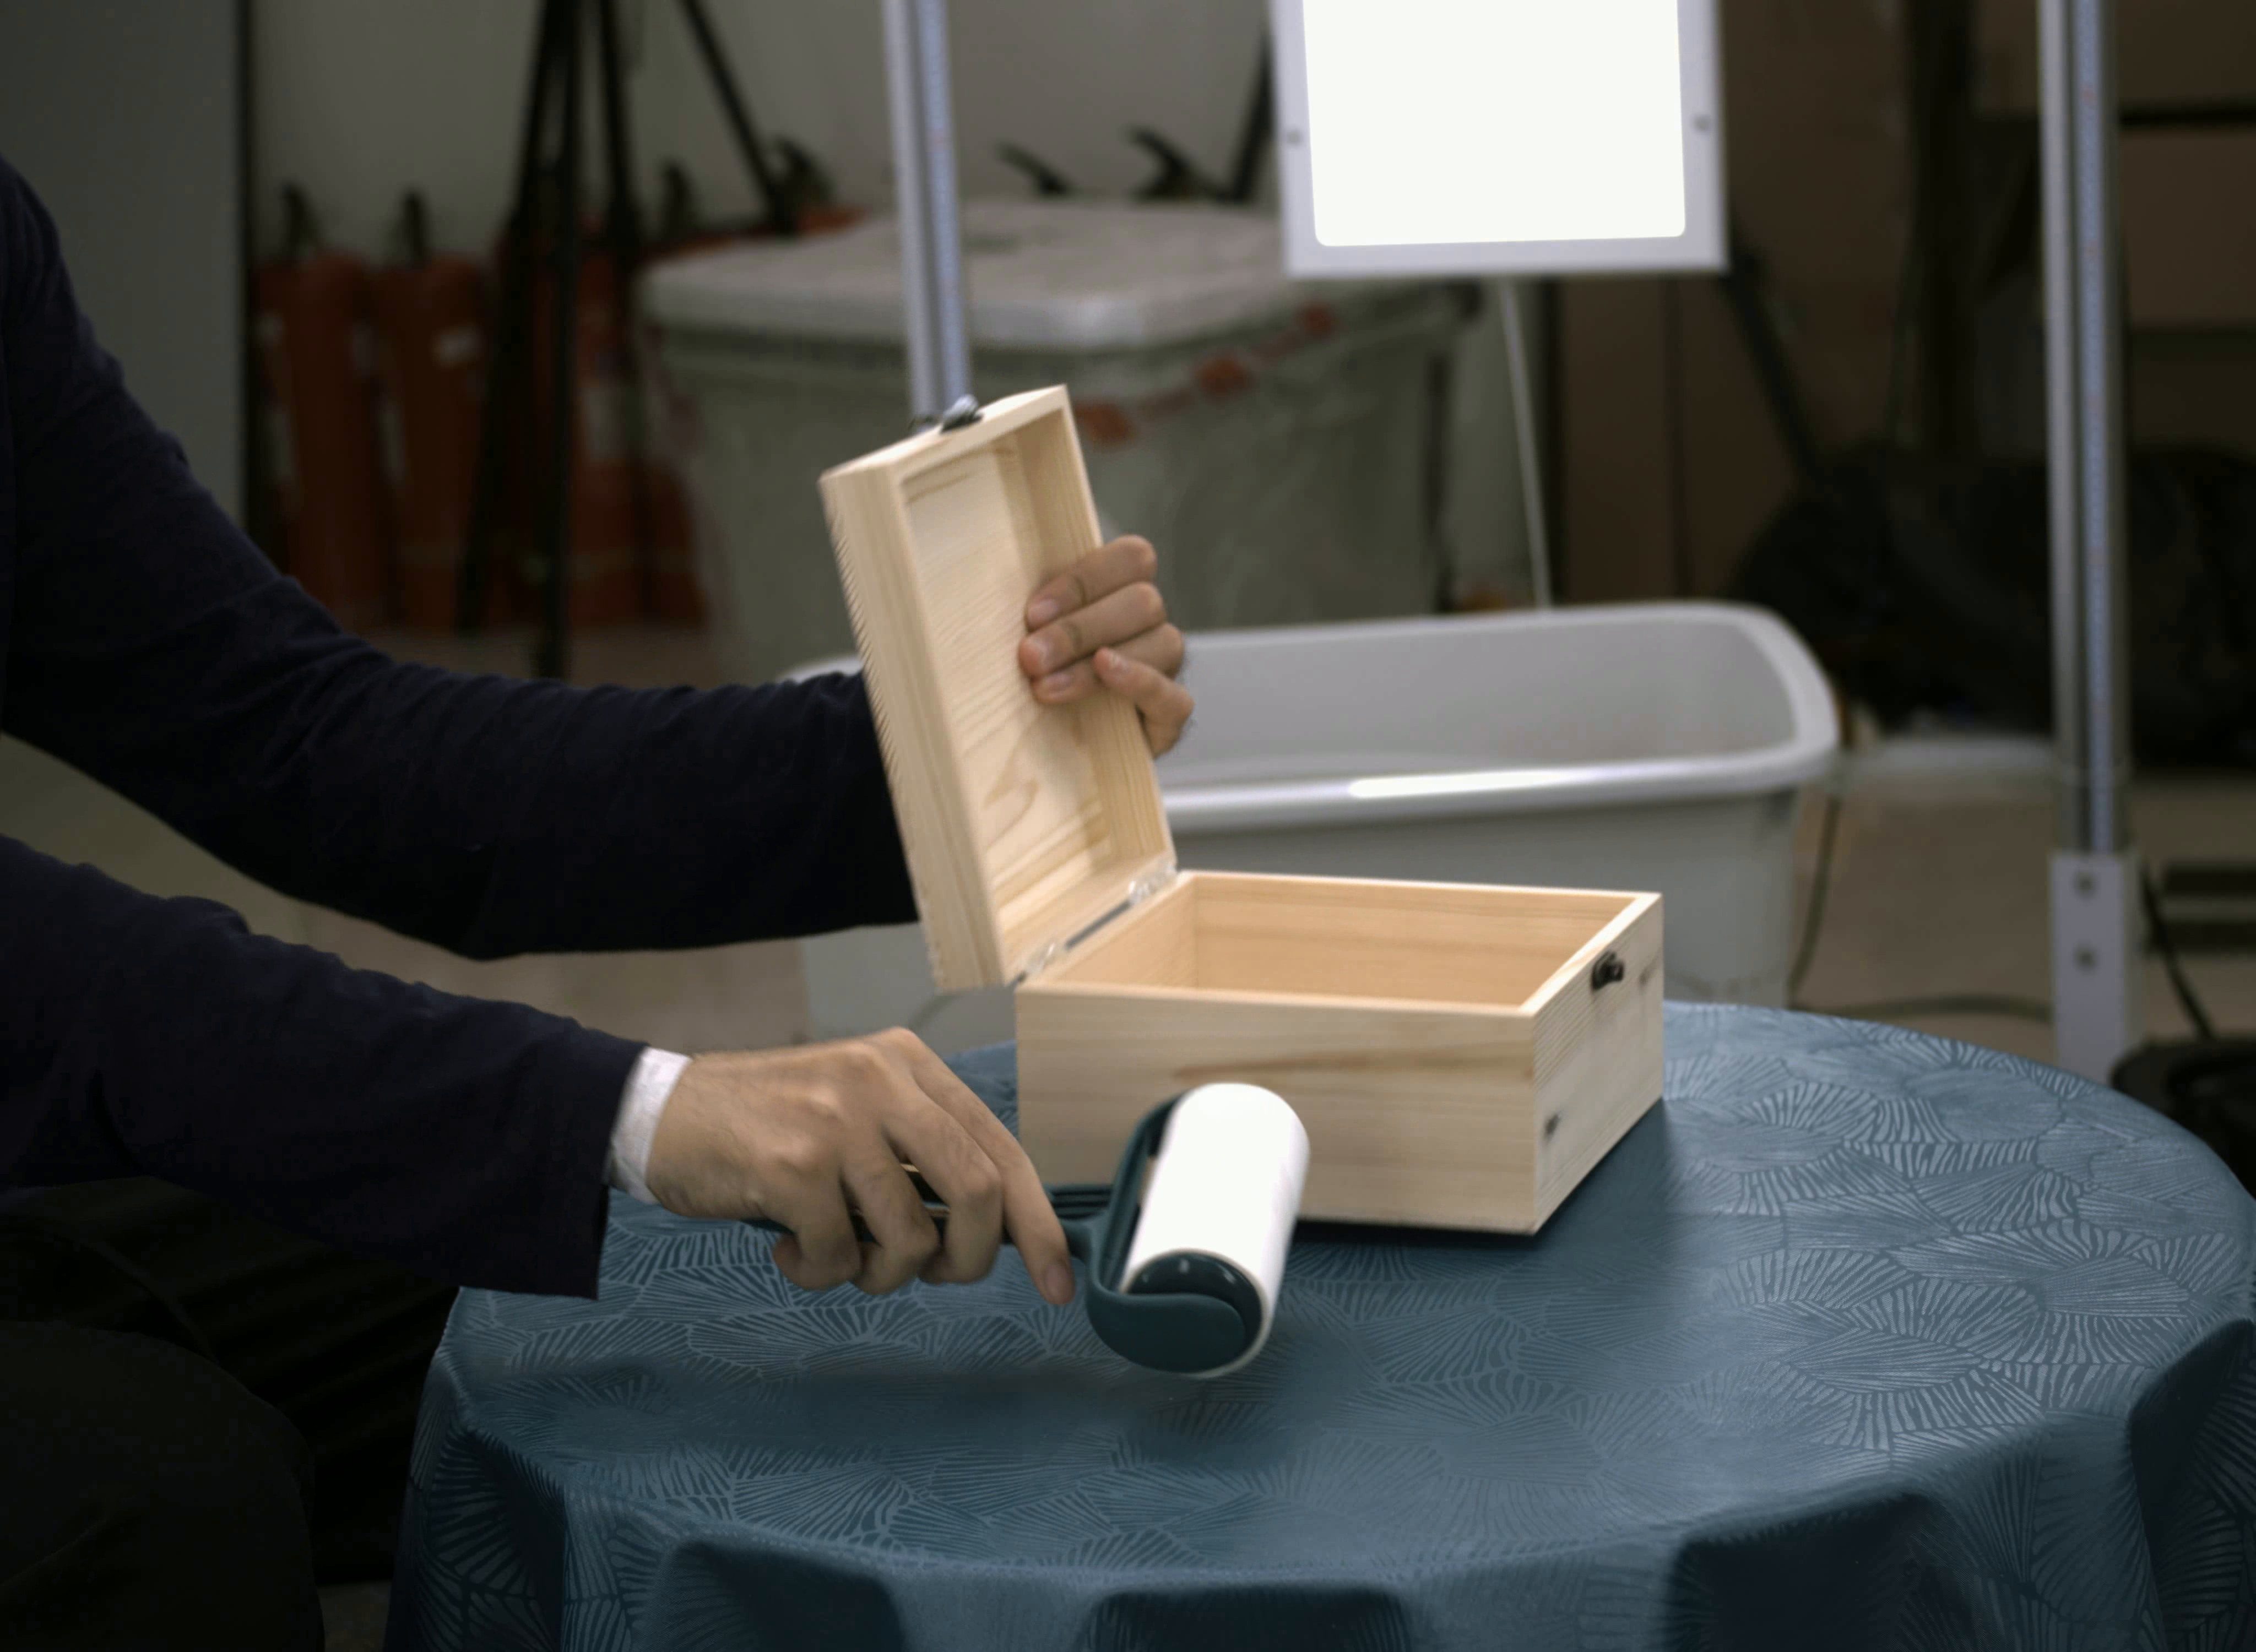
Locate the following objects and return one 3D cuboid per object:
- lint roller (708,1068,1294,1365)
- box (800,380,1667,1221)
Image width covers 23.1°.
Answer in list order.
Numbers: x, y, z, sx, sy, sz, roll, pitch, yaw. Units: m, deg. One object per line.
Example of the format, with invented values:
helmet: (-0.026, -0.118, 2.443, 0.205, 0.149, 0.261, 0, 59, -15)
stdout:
lint roller: (-0.042, 0.114, 1.713, 0.181, 0.048, 0.133, 6, 29, 8)
box: (0.045, -0.016, 1.895, 0.268, 0.254, 0.179, 3, 13, 19)
